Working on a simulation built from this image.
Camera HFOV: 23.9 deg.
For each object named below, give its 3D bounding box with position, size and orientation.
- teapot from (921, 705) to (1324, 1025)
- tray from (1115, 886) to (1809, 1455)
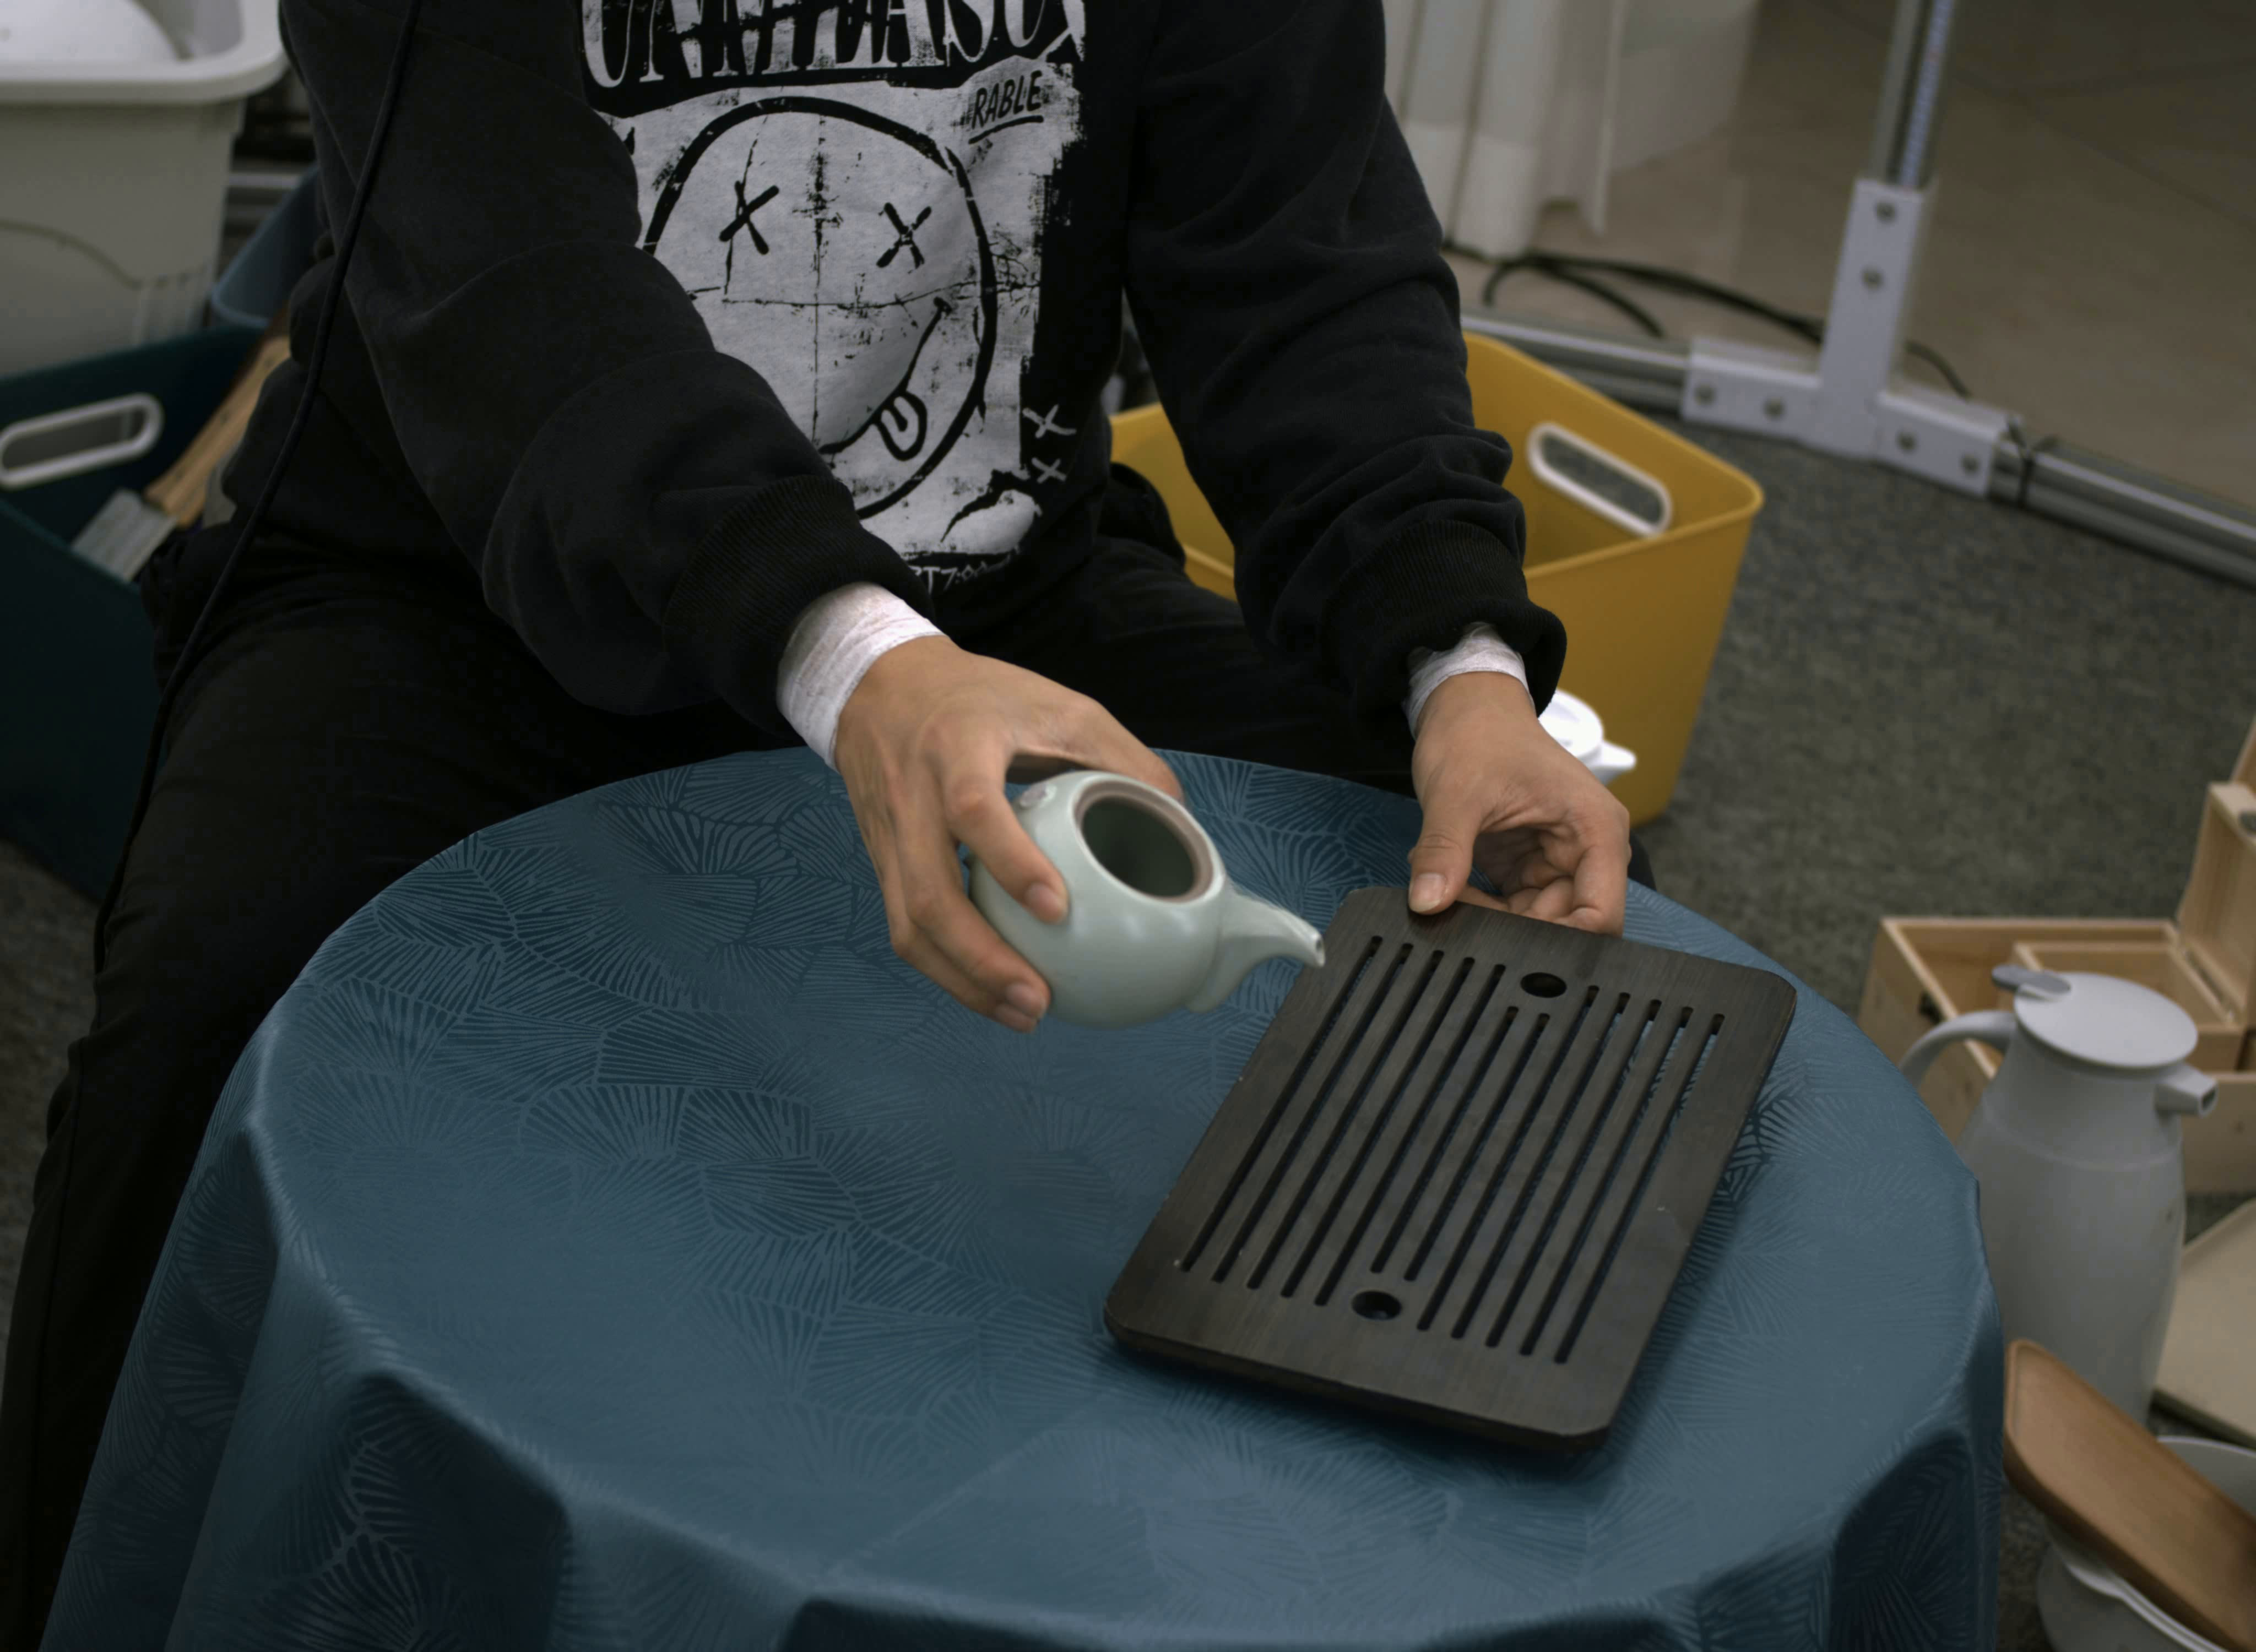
[{"bbox_3d":[-0.011,0.022,1.753,0.143,0.074,0.088,35,34,-4],"label":"teapot"},{"bbox_3d":[0.120,0.113,1.811,0.170,0.018,0.306,12,31,15],"label":"tray"}]
